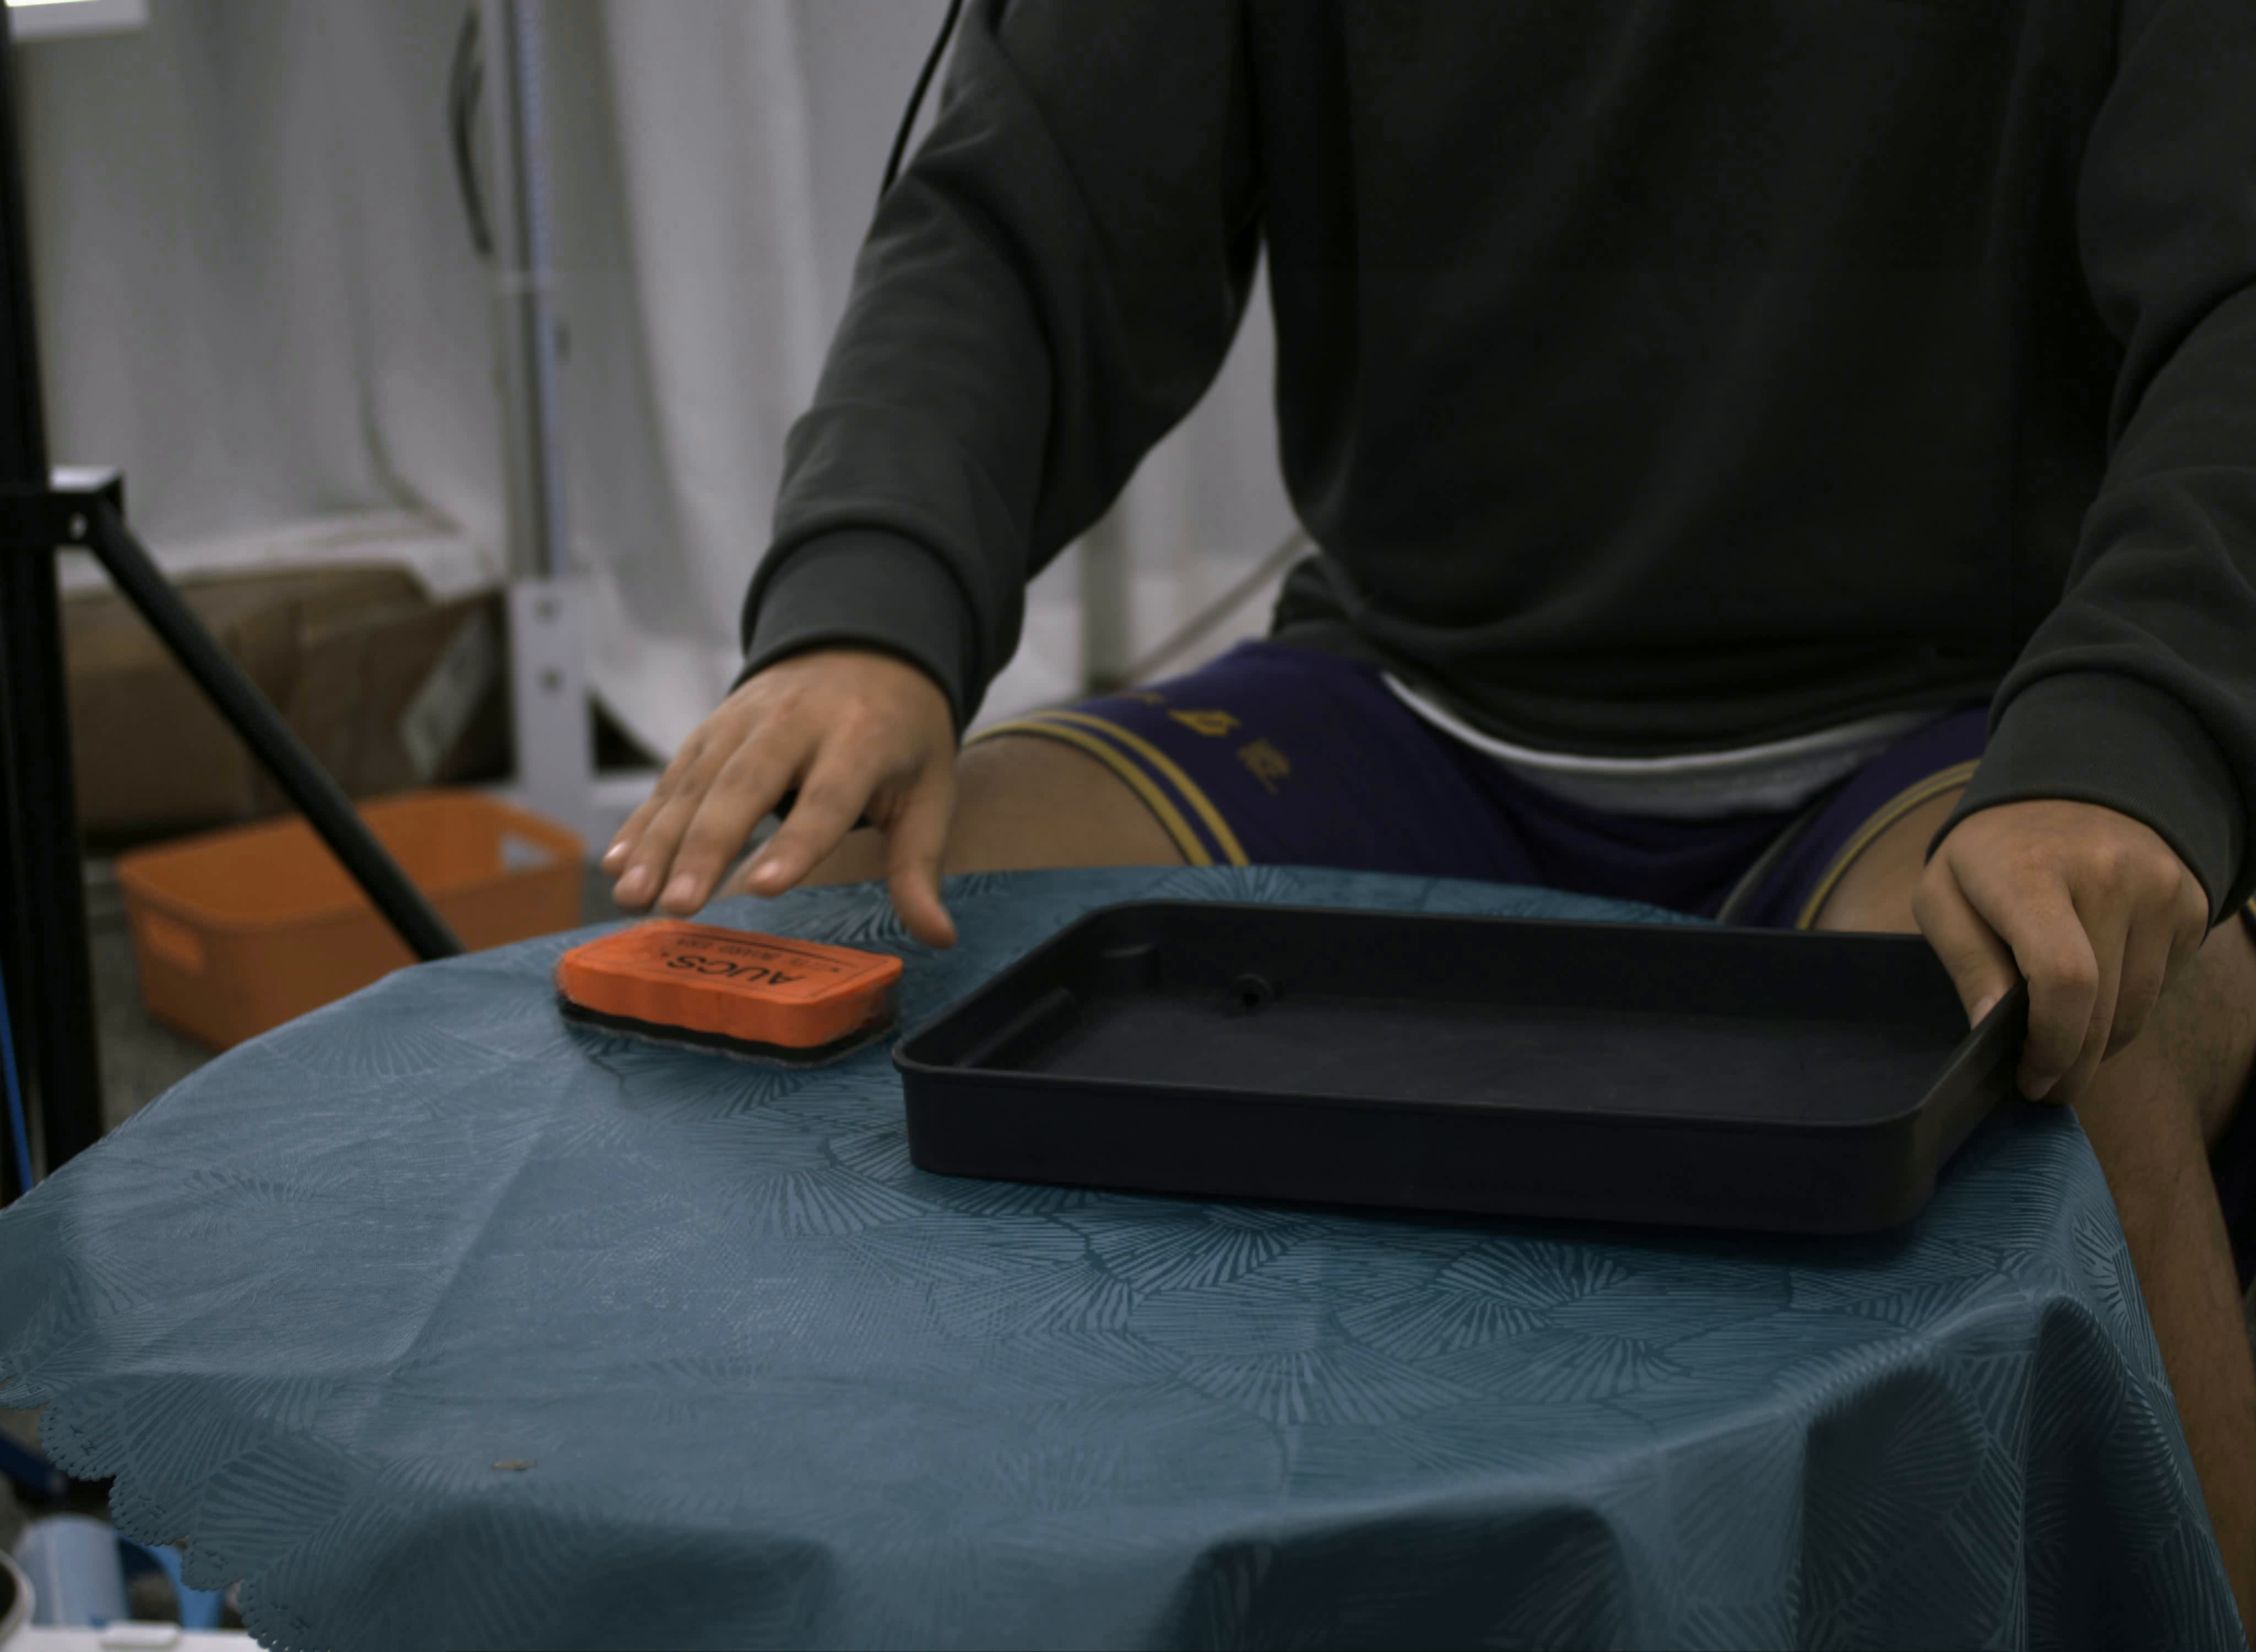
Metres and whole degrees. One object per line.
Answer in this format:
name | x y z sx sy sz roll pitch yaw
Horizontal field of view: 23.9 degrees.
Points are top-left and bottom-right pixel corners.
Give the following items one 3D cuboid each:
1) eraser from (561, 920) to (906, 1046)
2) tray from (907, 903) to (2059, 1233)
eraser | -0.128 0.051 1.730 0.110 0.023 0.057 7 11 35
tray | 0.108 0.070 1.591 0.322 0.037 0.182 2 16 24
